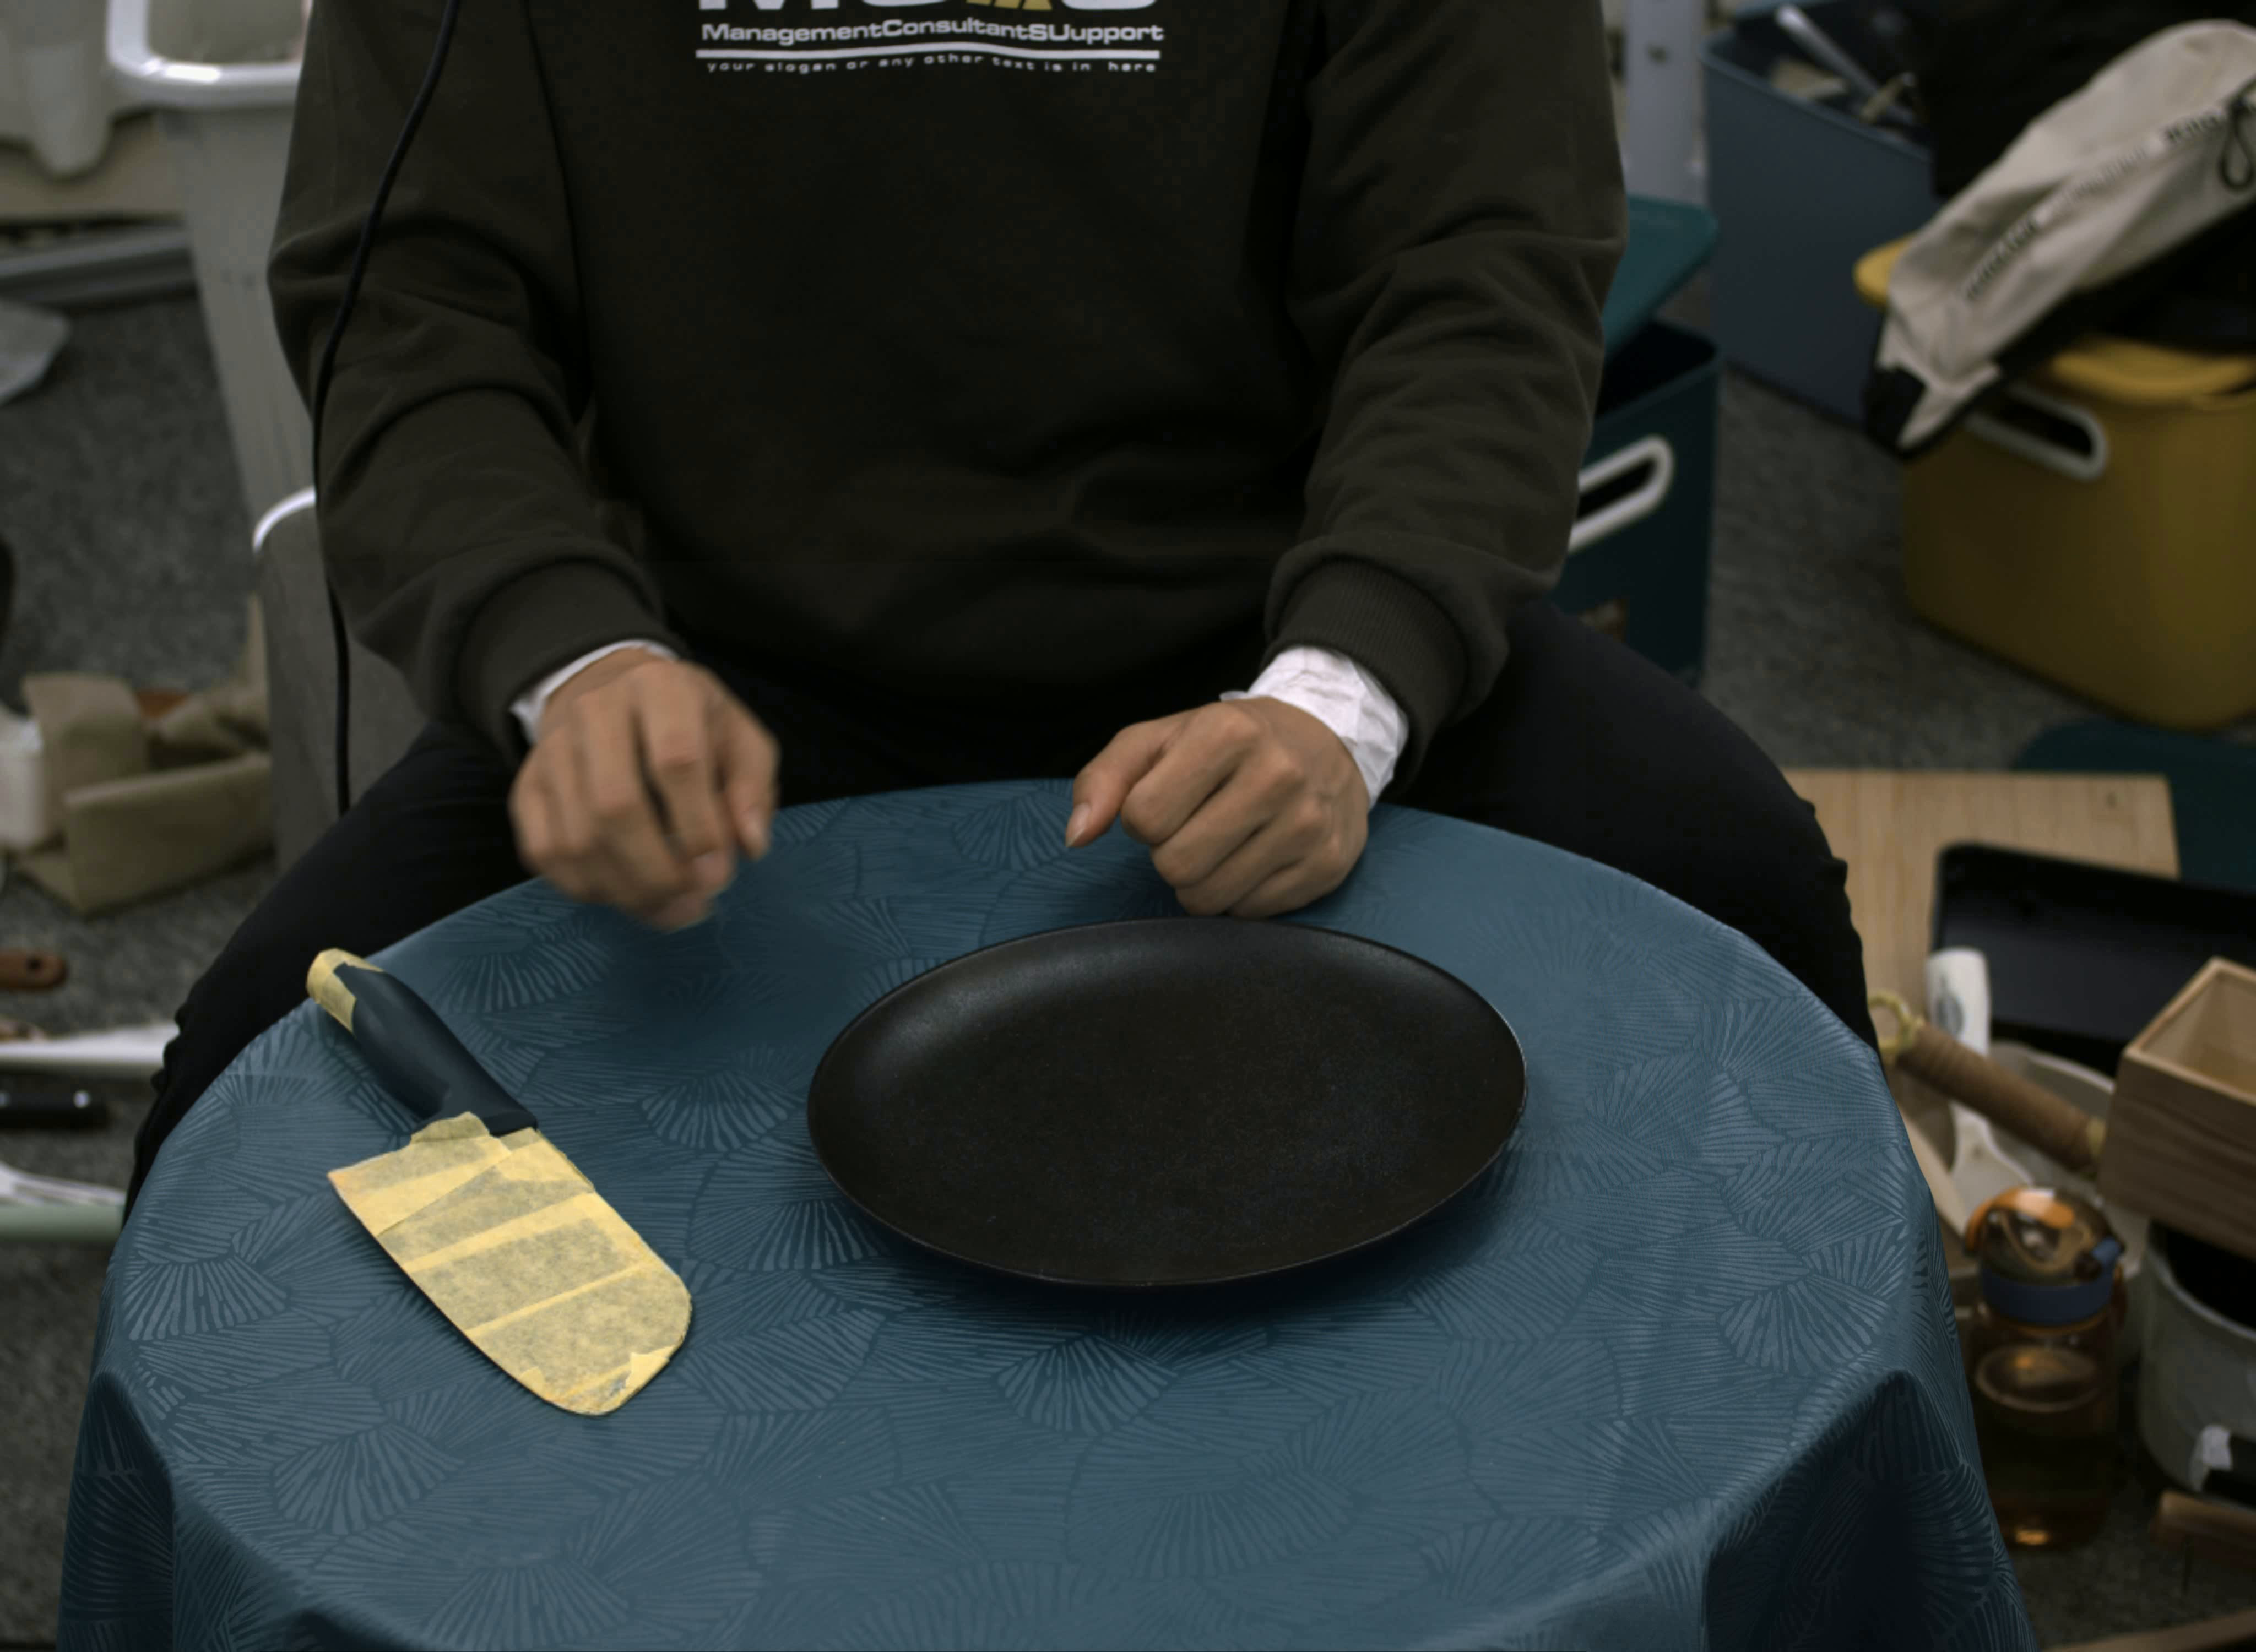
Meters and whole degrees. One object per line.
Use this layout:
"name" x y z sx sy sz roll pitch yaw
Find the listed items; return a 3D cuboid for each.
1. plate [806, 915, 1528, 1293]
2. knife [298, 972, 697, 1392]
"plate" 0.013 0.097 1.883 0.243 0.023 0.248 -2 27 1
"knife" -0.224 0.119 1.871 0.081 0.027 0.291 -15 30 -25
